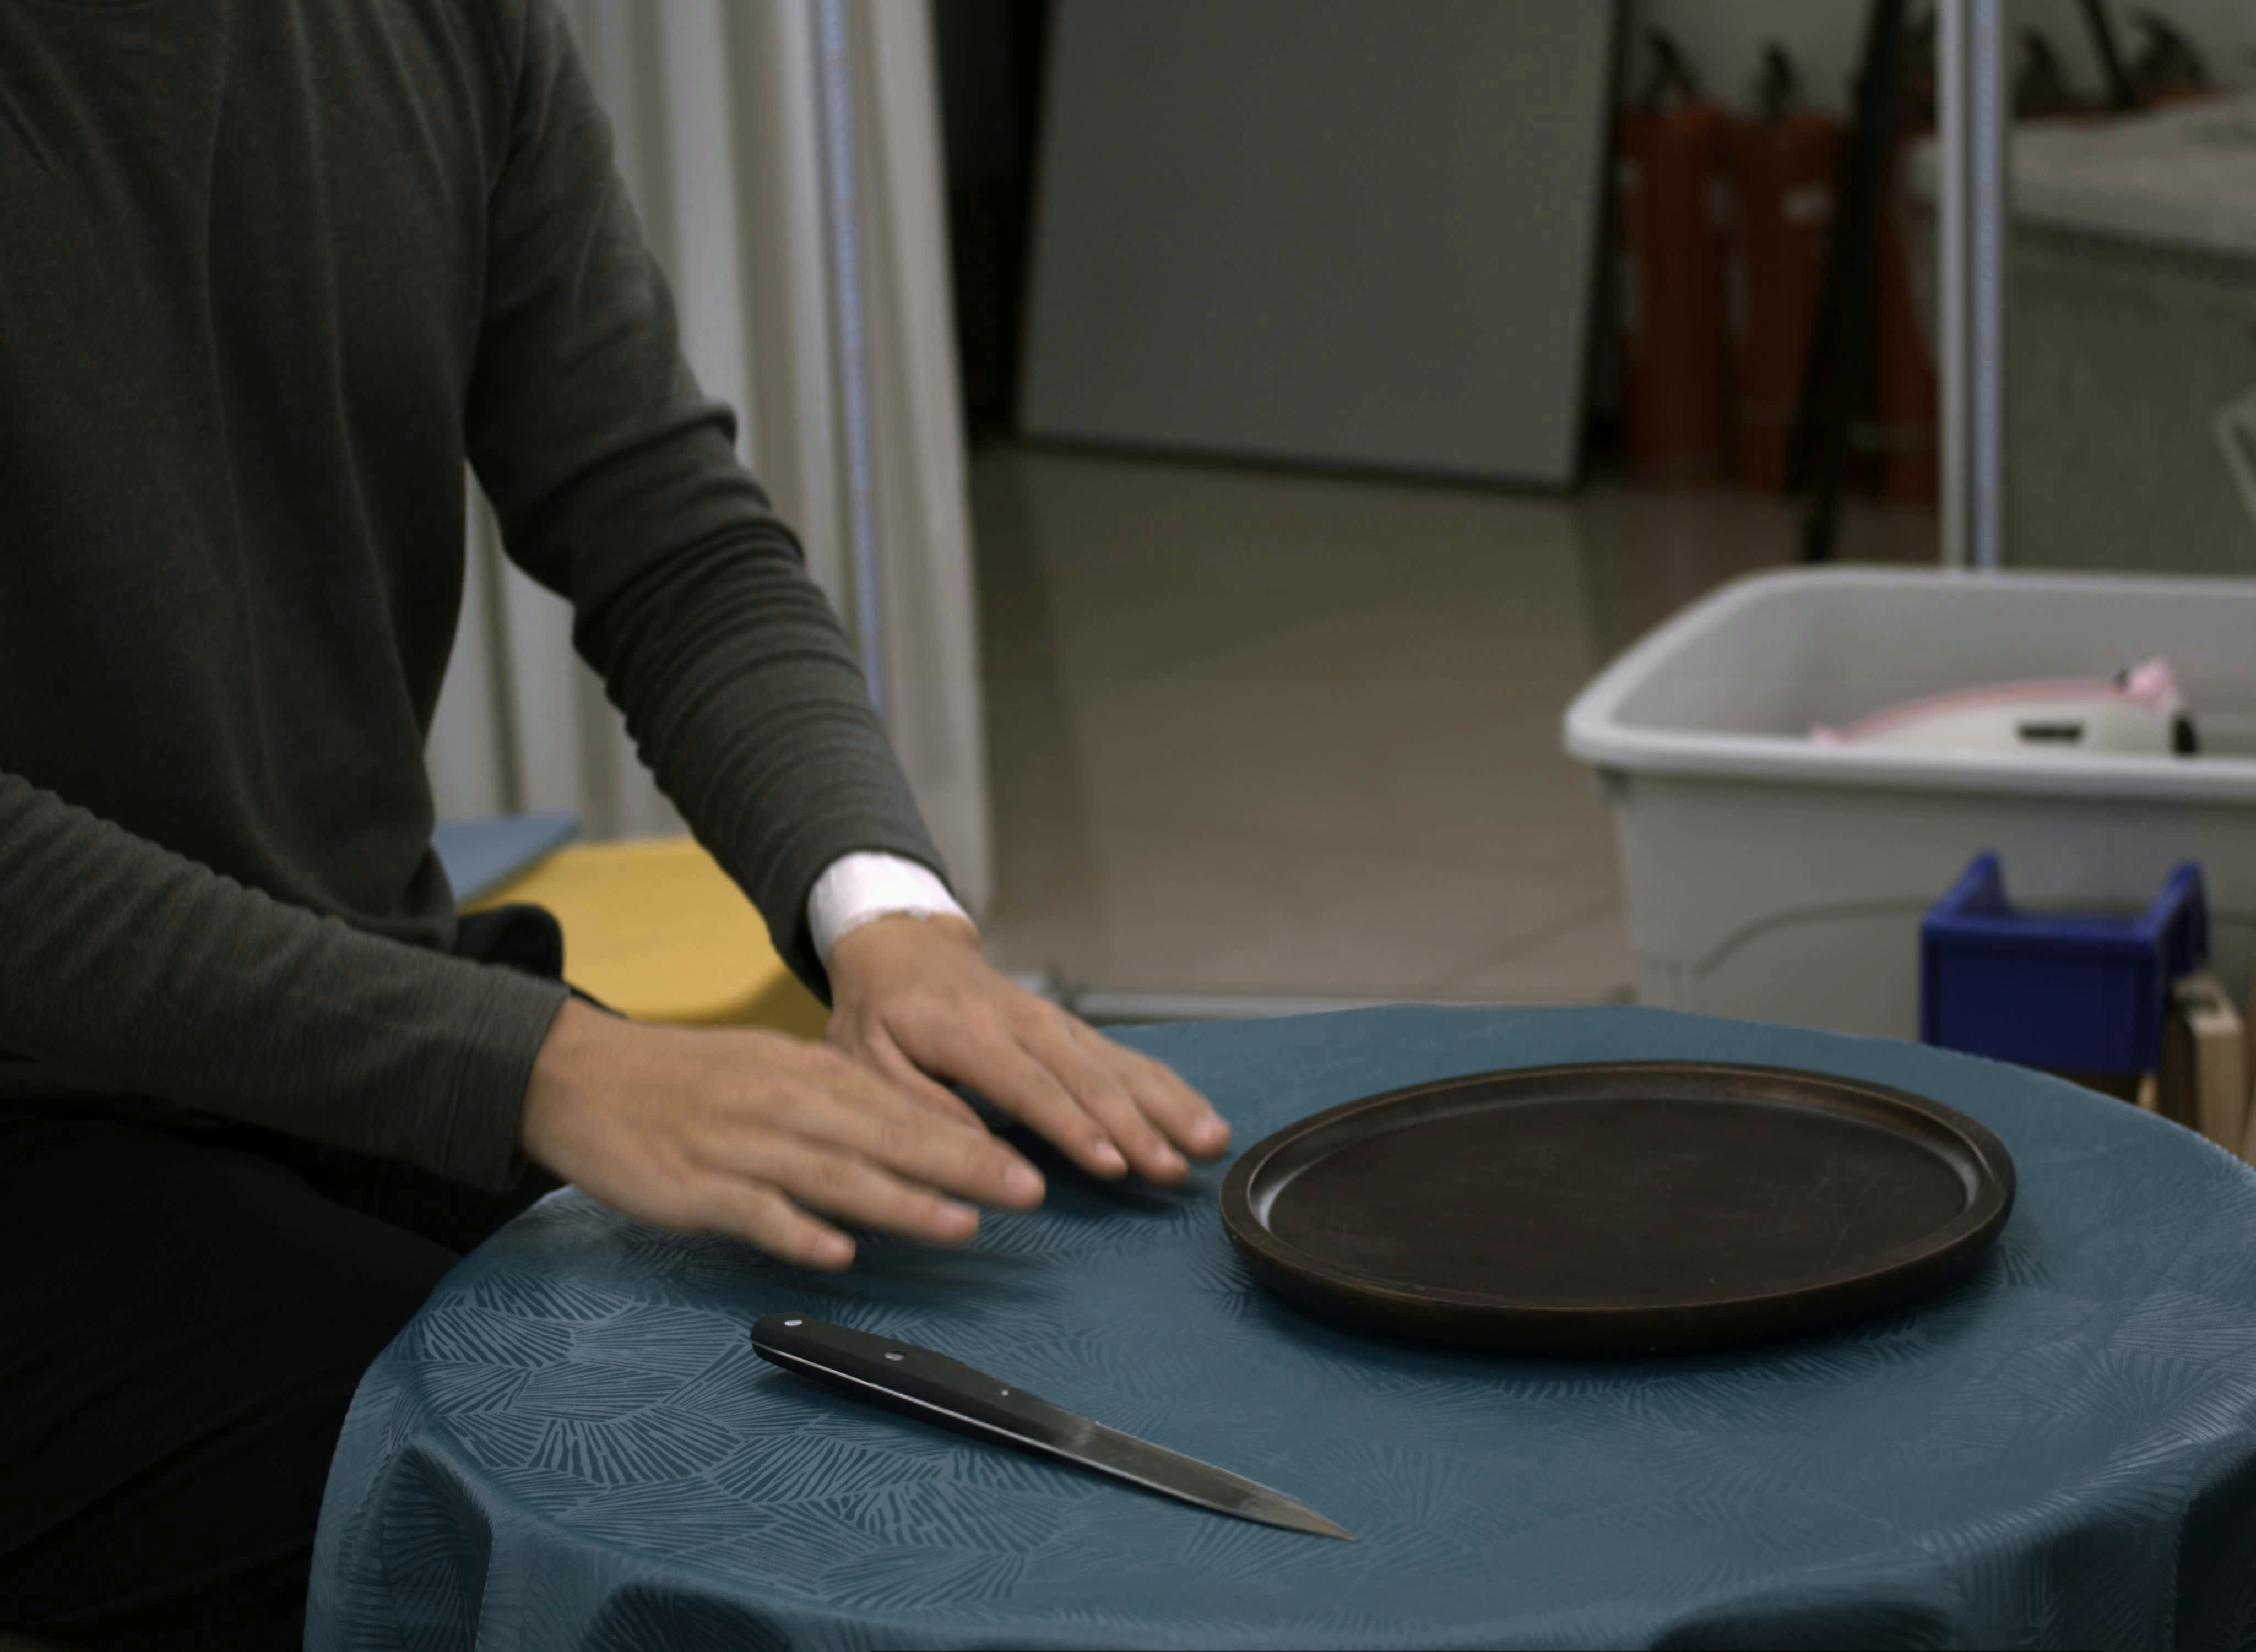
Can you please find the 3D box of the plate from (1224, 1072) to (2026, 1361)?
[{"bbox_3d":[0.155,0.119,1.688,0.251,0.029,0.255,-3,13,0],"label":"plate"}]

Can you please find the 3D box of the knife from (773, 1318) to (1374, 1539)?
[{"bbox_3d":[-0.021,0.174,1.540,0.240,0.016,0.024,13,21,43],"label":"knife"}]
